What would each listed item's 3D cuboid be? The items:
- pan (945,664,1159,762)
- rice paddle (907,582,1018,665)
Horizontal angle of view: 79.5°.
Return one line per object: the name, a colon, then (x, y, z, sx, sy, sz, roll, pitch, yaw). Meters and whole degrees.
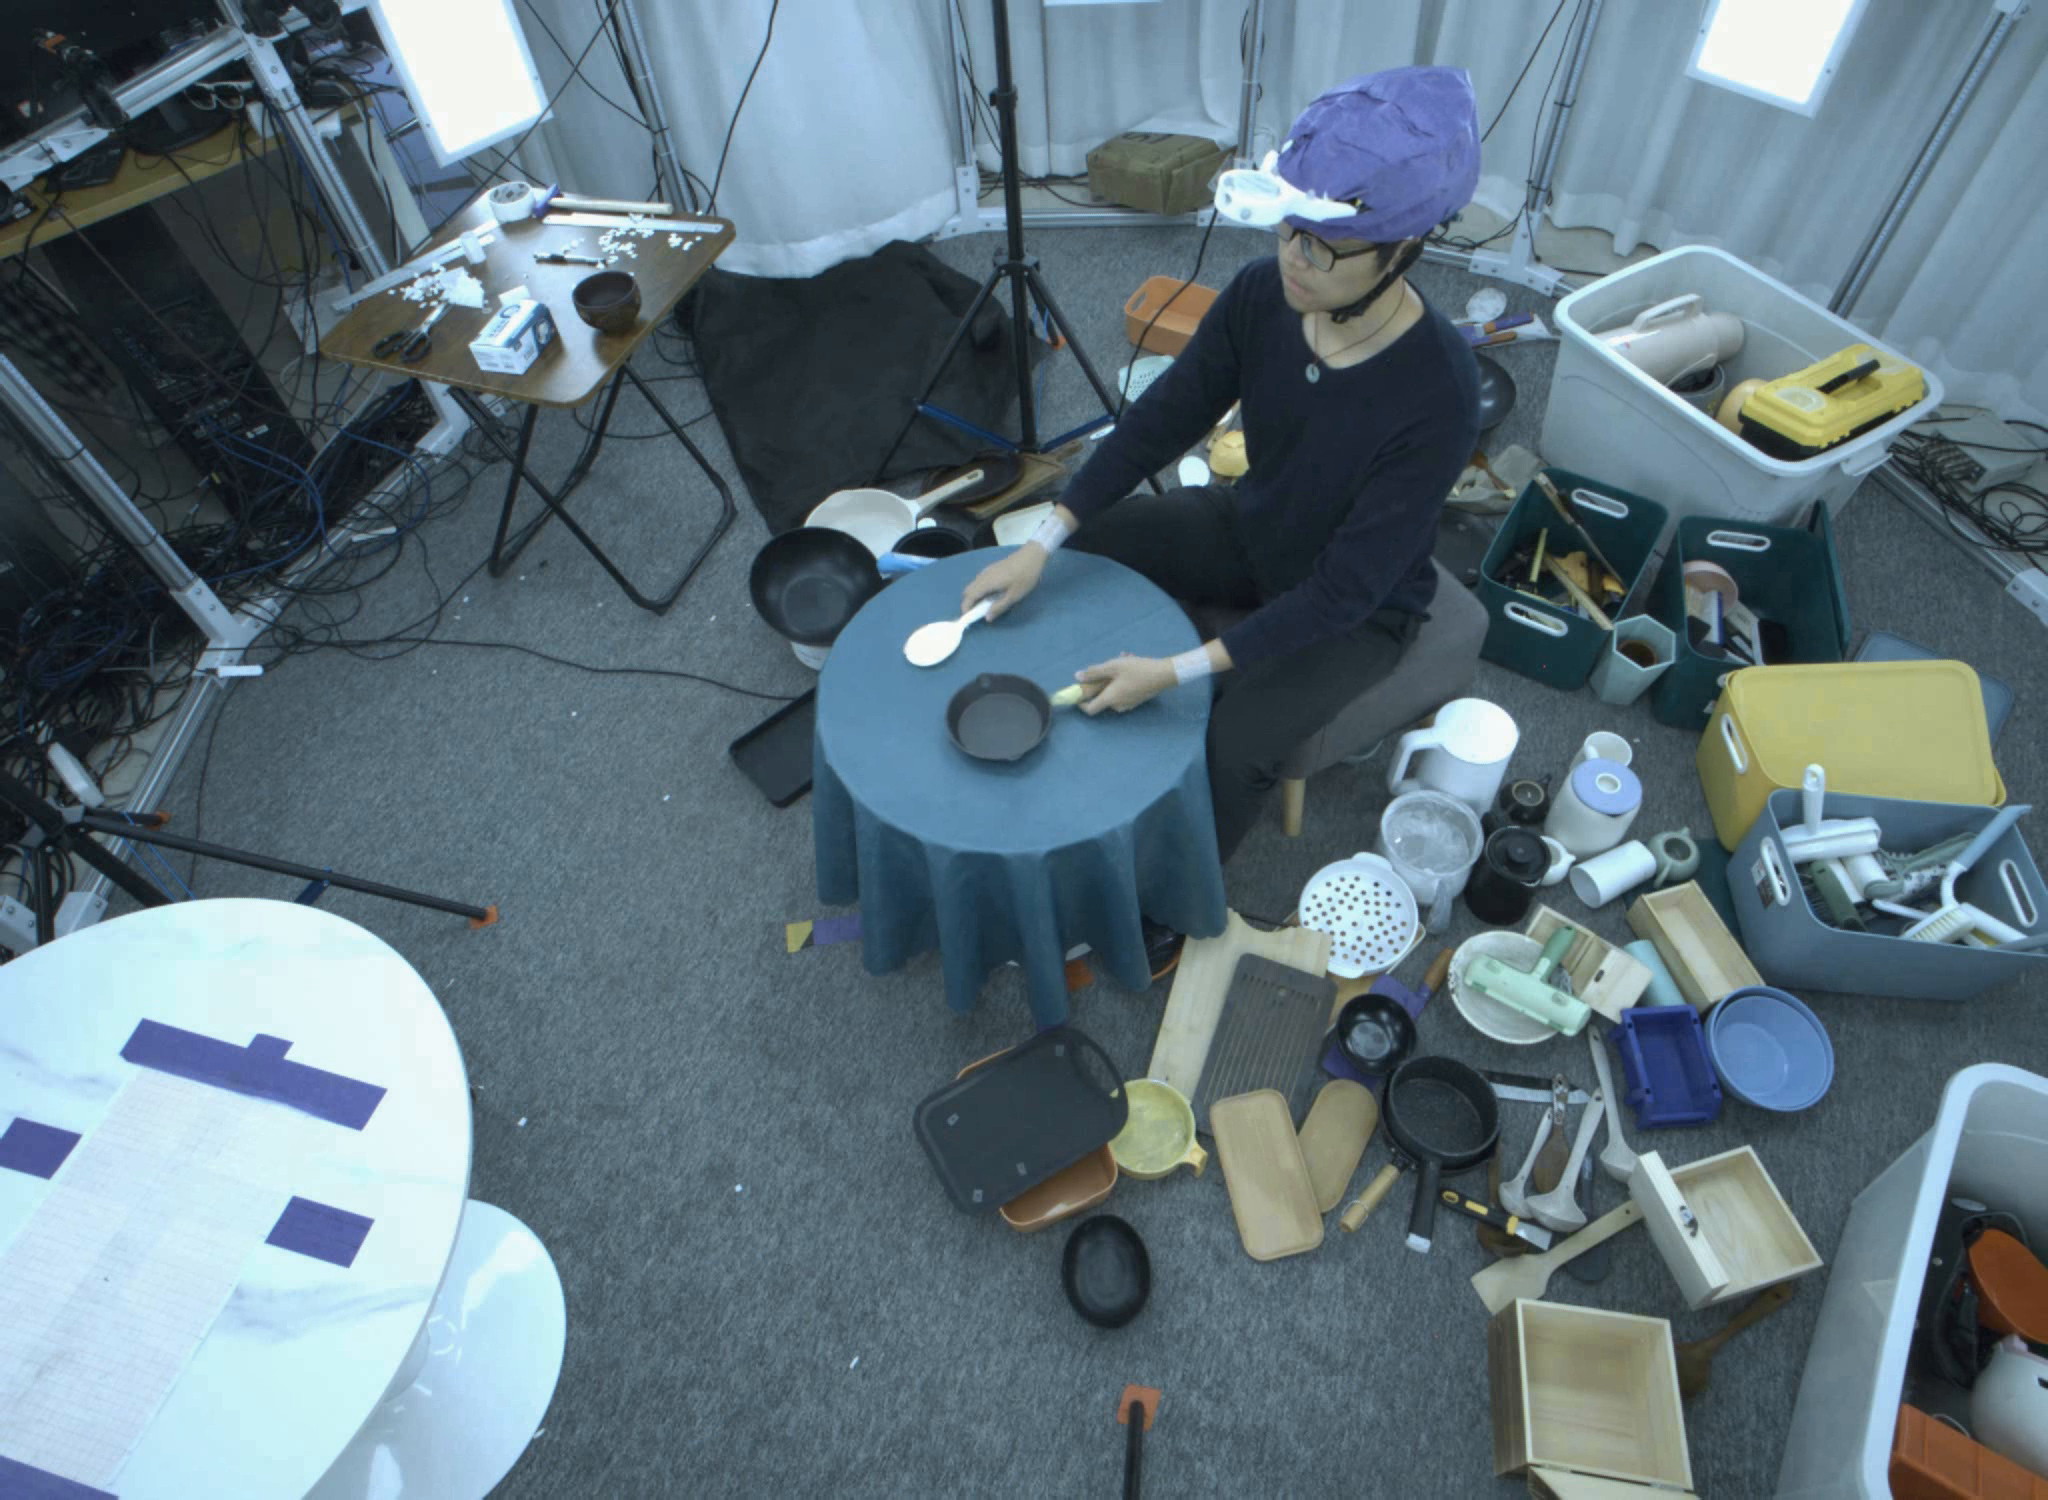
pan: (0.044, -0.069, 1.803, 0.325, 0.050, 0.166, -15, 55, -6)
rice paddle: (-0.096, -0.197, 1.909, 0.206, 0.030, 0.067, -37, 65, -19)
